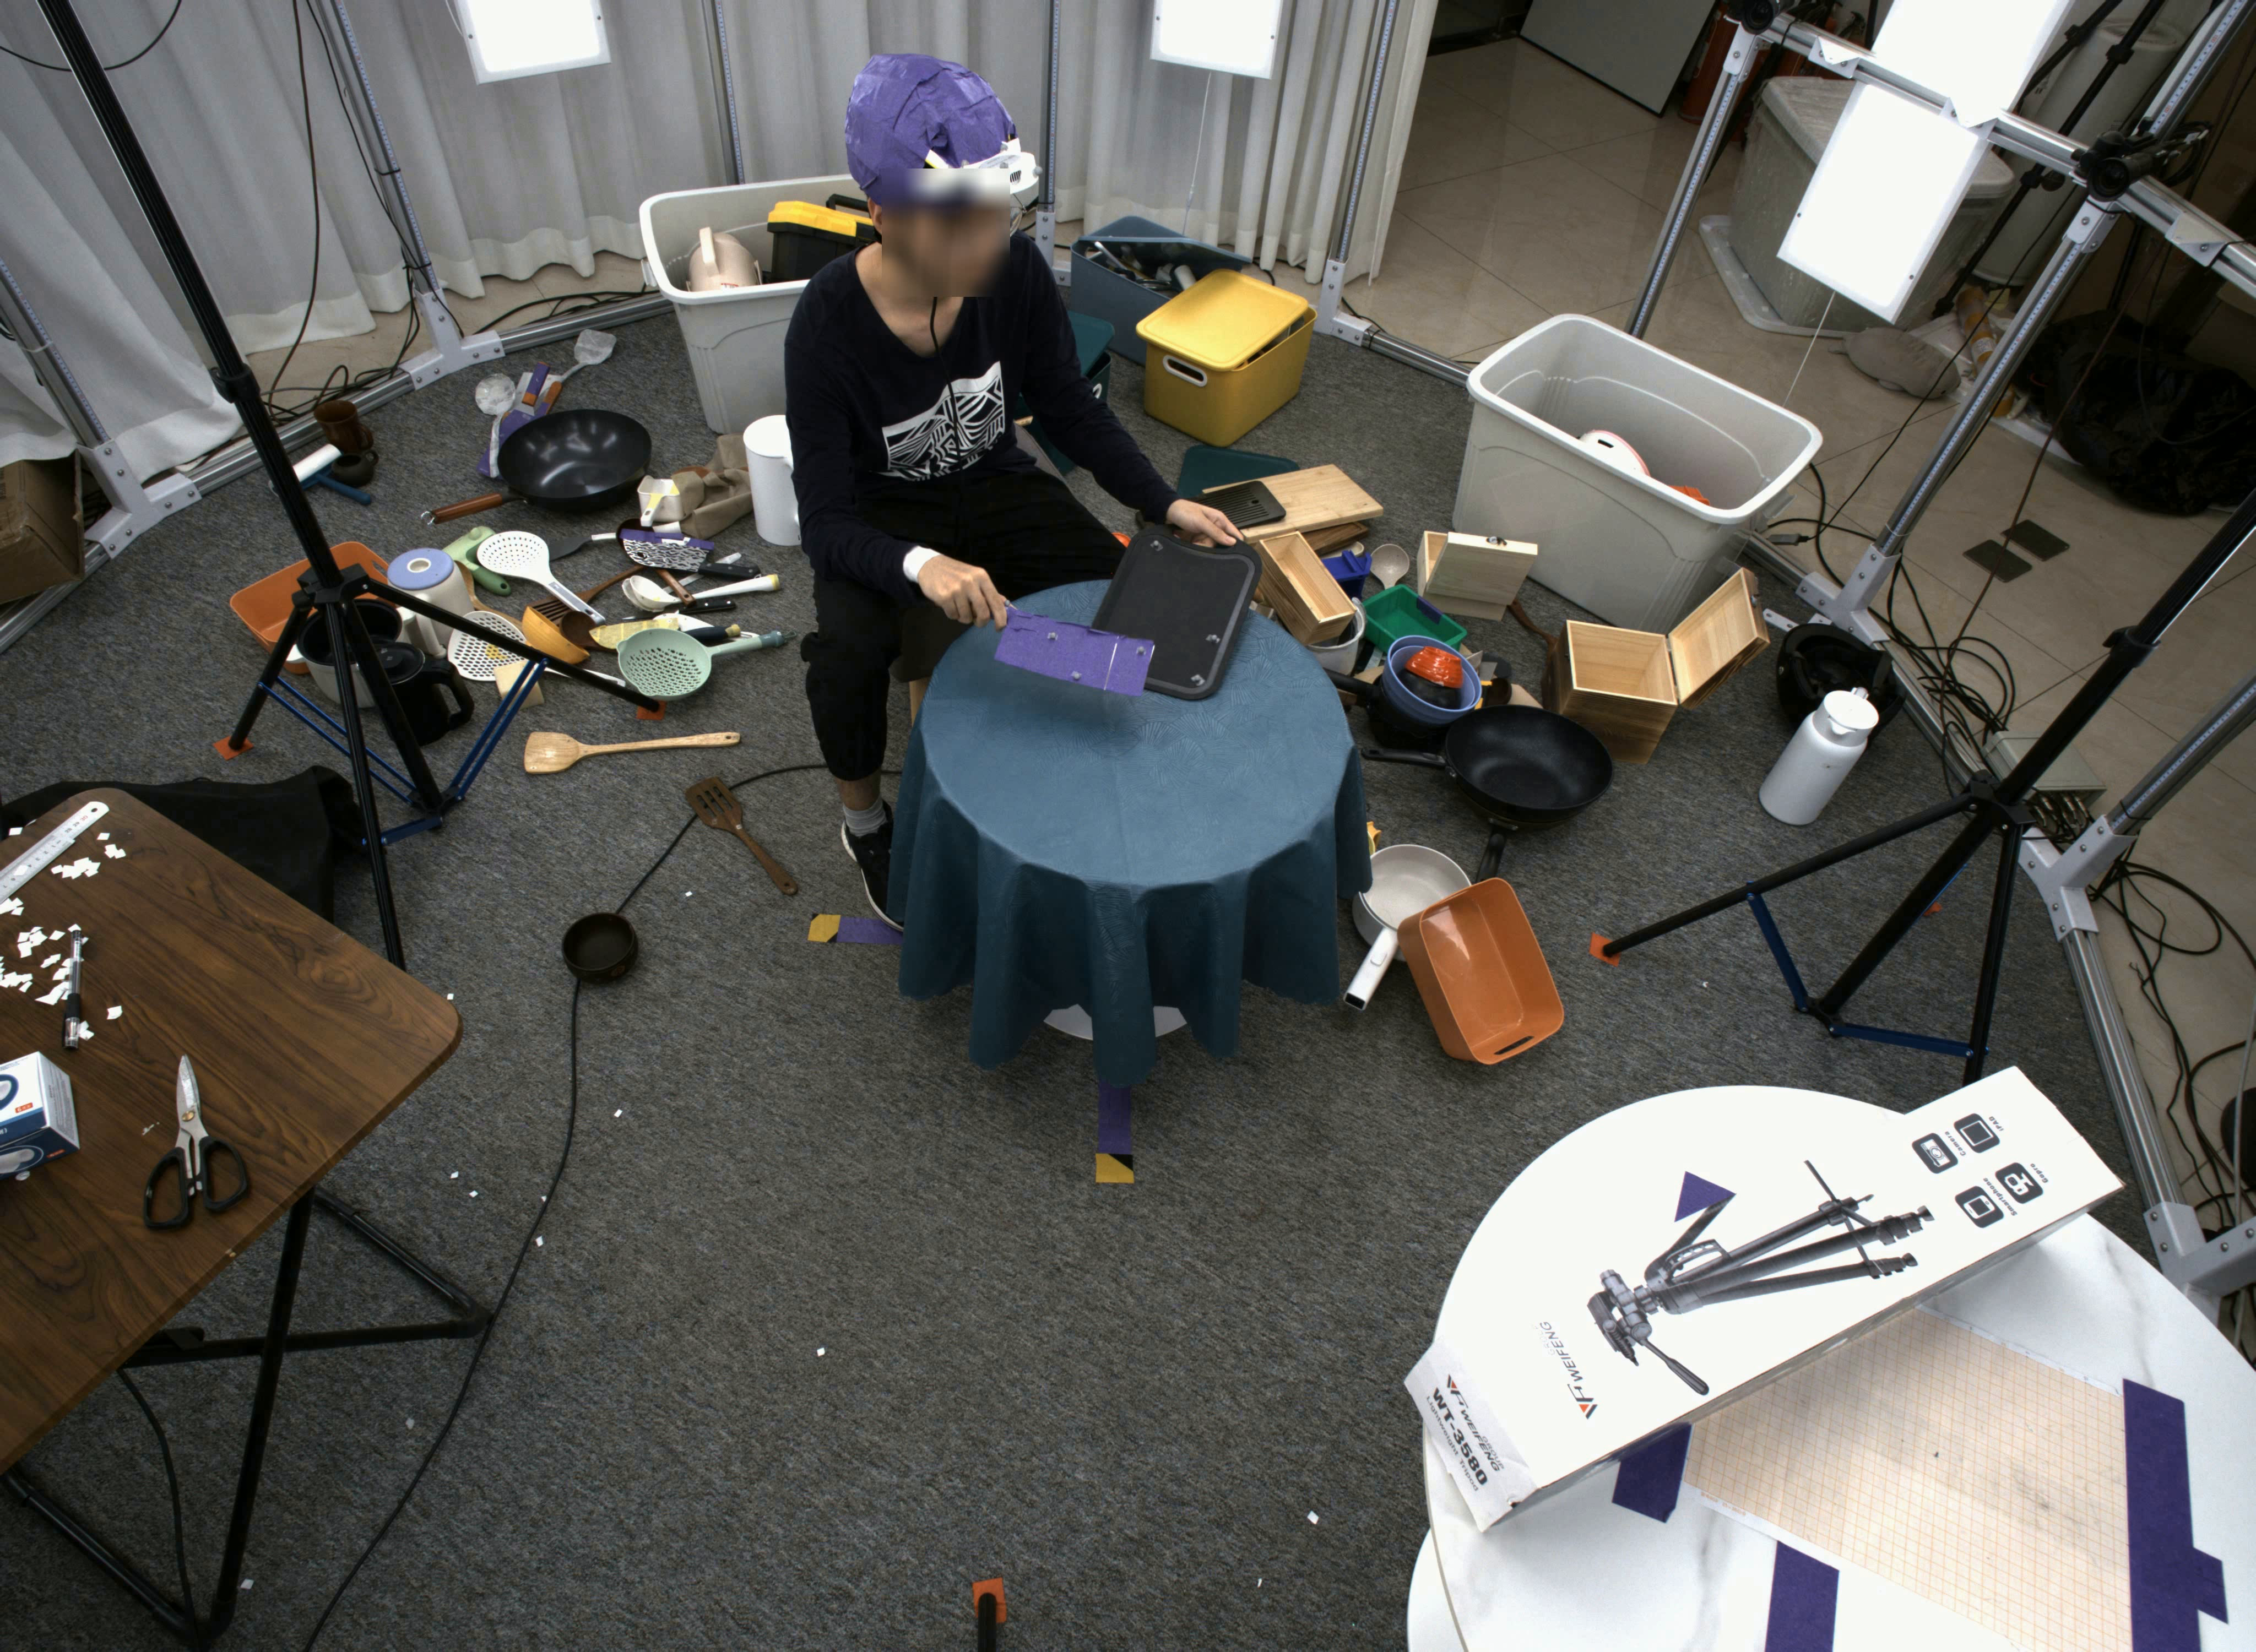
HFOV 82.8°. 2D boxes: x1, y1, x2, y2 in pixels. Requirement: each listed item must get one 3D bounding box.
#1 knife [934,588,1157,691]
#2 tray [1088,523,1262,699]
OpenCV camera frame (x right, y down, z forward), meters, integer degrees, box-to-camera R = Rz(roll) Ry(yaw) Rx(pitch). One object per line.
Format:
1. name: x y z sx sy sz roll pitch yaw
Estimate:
1. knife: -0.121 -0.255 1.764 0.315 0.031 0.106 14 59 4
2. tray: 0.070 -0.334 1.921 0.212 0.009 0.331 17 59 11
